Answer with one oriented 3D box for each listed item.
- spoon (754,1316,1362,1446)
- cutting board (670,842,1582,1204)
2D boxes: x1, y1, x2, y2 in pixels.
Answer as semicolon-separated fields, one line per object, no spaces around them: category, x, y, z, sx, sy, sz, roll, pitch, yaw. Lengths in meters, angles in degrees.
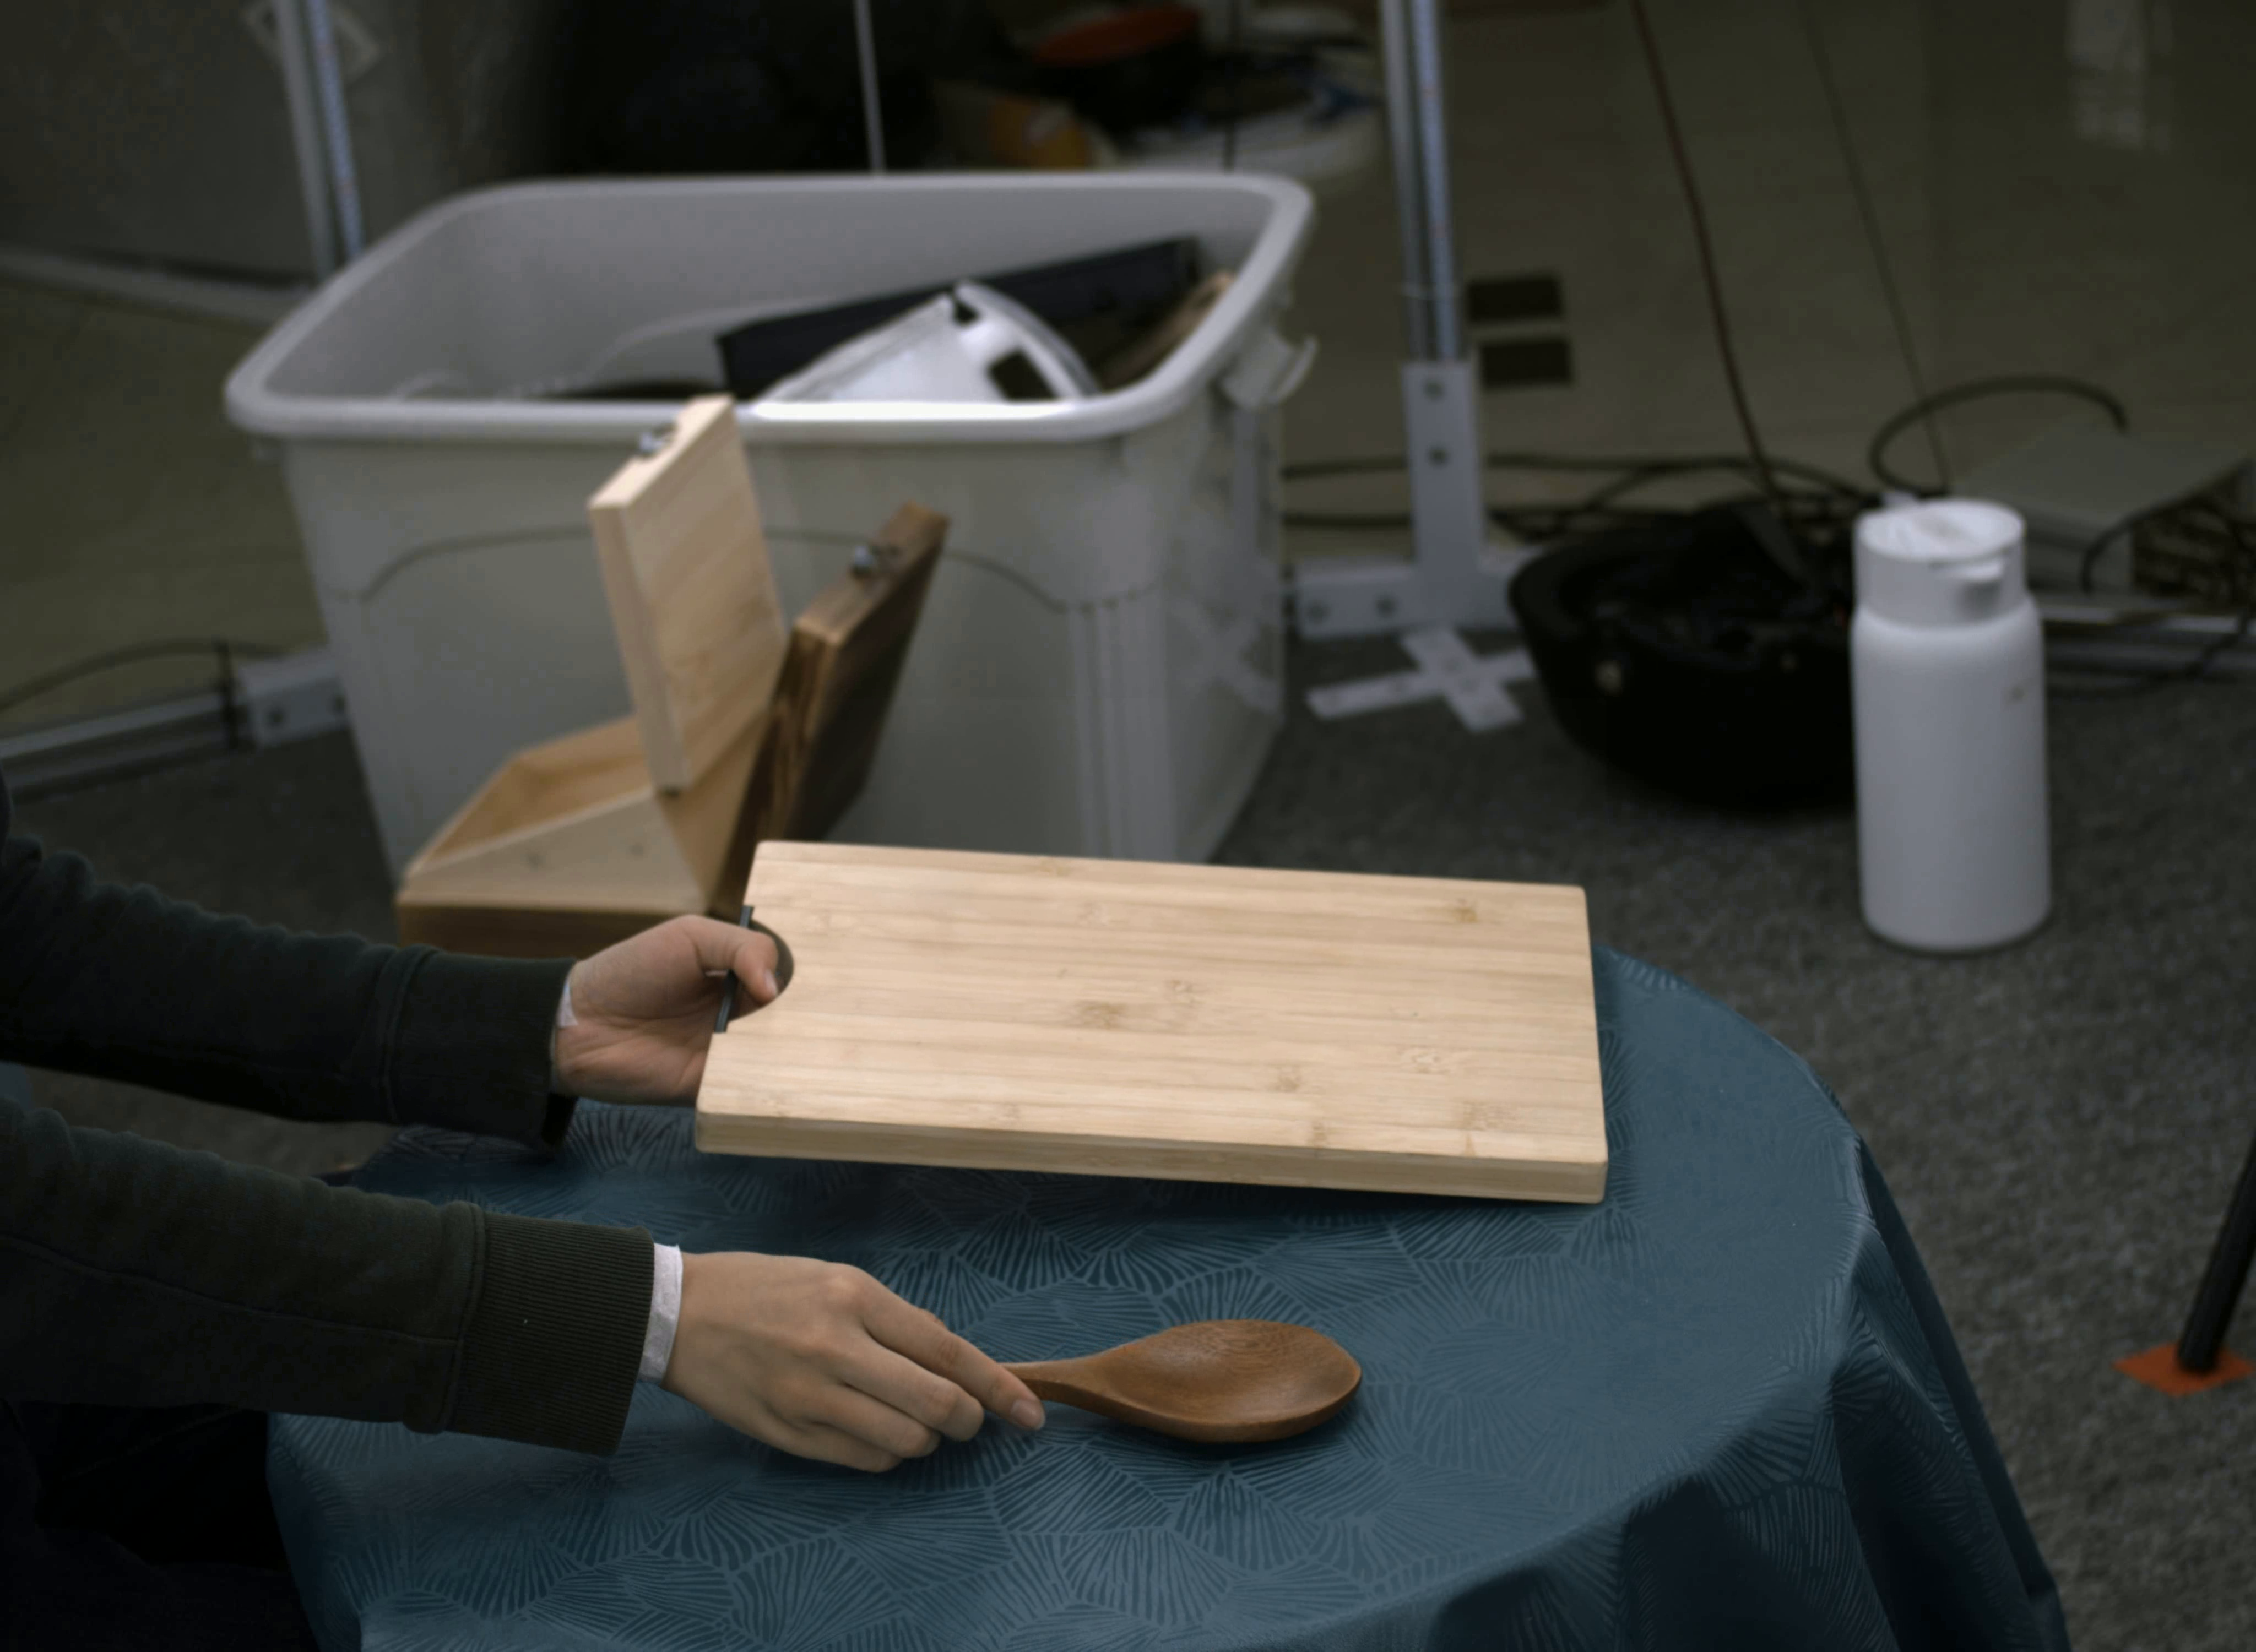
spoon;-0.025;0.196;2.003;0.215;0.017;0.074;1;27;6
cutting board;0.006;0.074;2.211;0.348;0.024;0.247;3;25;0
